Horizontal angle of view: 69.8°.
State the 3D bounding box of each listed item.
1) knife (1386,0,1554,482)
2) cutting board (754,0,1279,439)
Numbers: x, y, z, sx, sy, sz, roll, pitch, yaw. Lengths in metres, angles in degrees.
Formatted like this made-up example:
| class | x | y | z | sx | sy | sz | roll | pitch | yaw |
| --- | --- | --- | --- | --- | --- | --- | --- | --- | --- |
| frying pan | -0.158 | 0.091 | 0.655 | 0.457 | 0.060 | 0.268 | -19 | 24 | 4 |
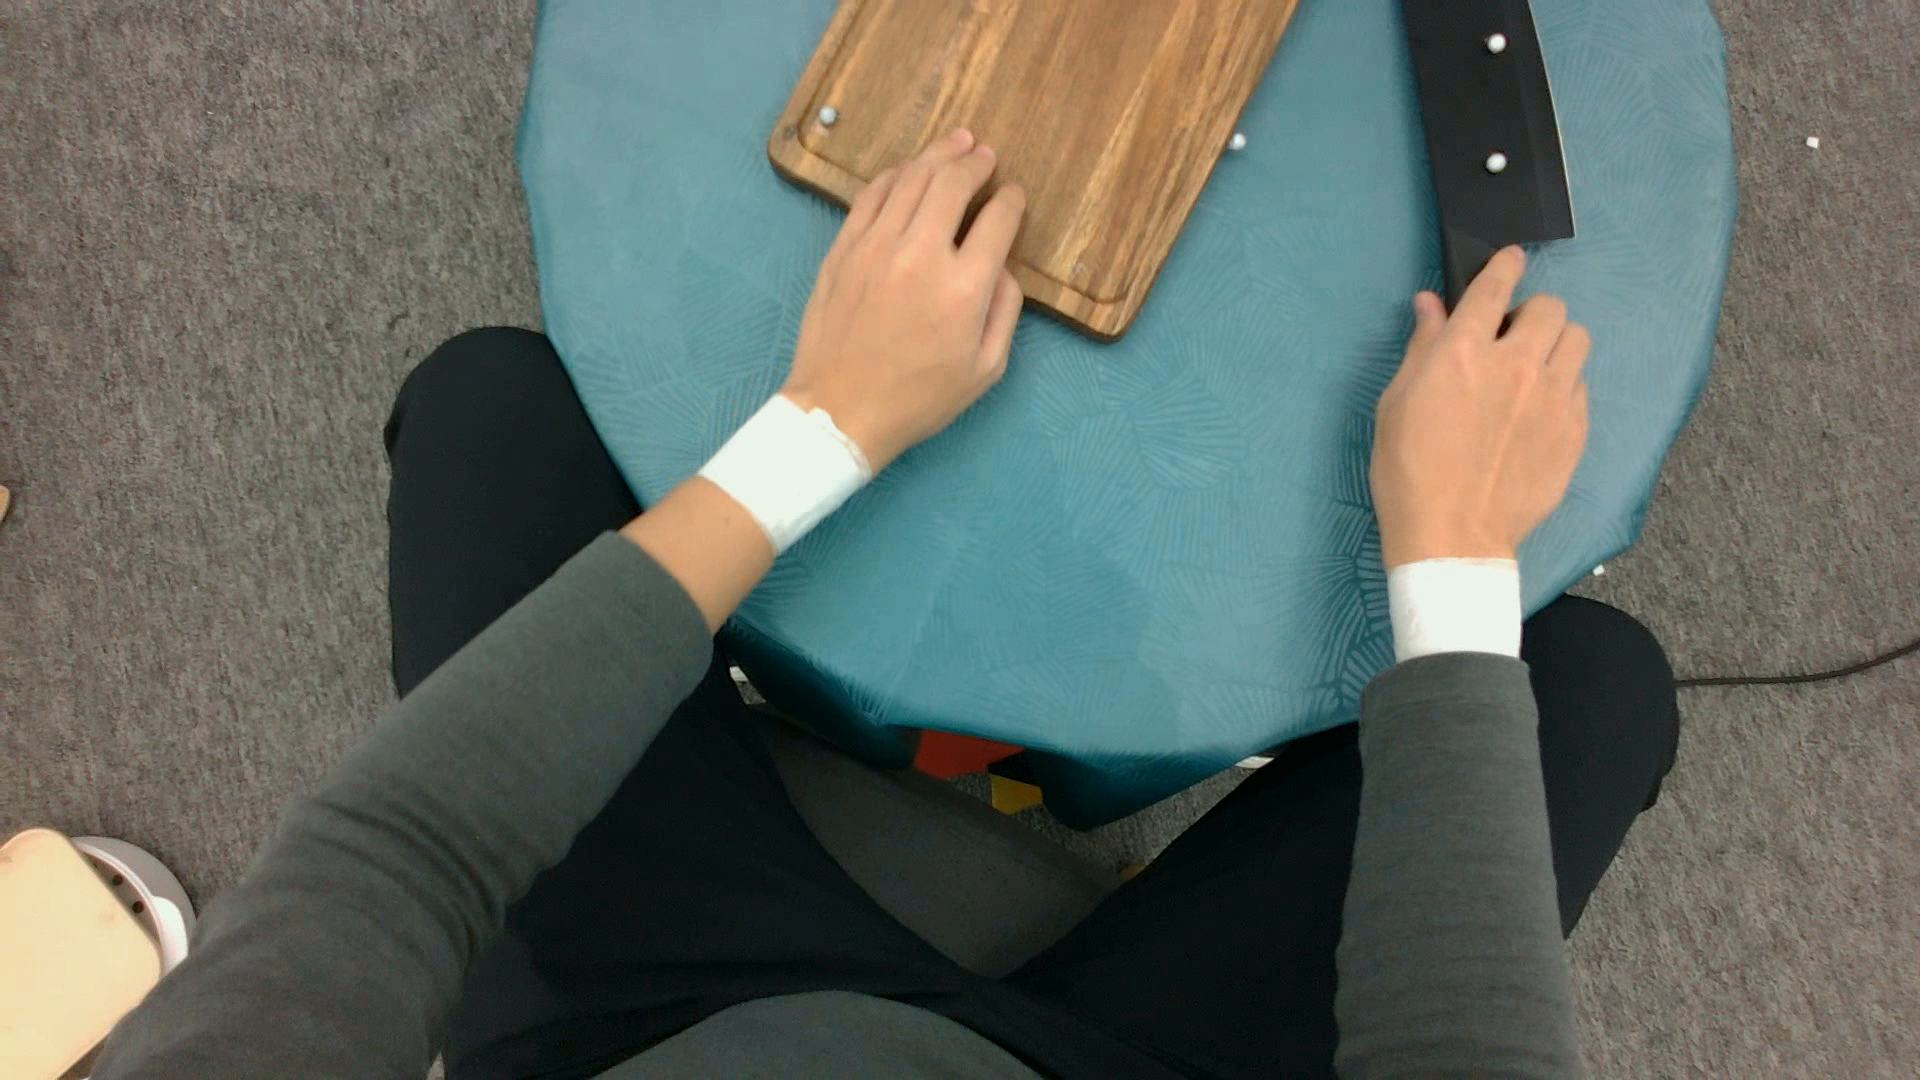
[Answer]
| class | x | y | z | sx | sy | sz | roll | pitch | yaw |
| --- | --- | --- | --- | --- | --- | --- | --- | --- | --- |
| knife | 0.252 | -0.177 | 0.672 | 0.081 | 0.021 | 0.302 | -2 | 81 | -4 |
| cutting board | 0.018 | -0.209 | 0.672 | 0.201 | 0.023 | 0.352 | 27 | 85 | 1 |
